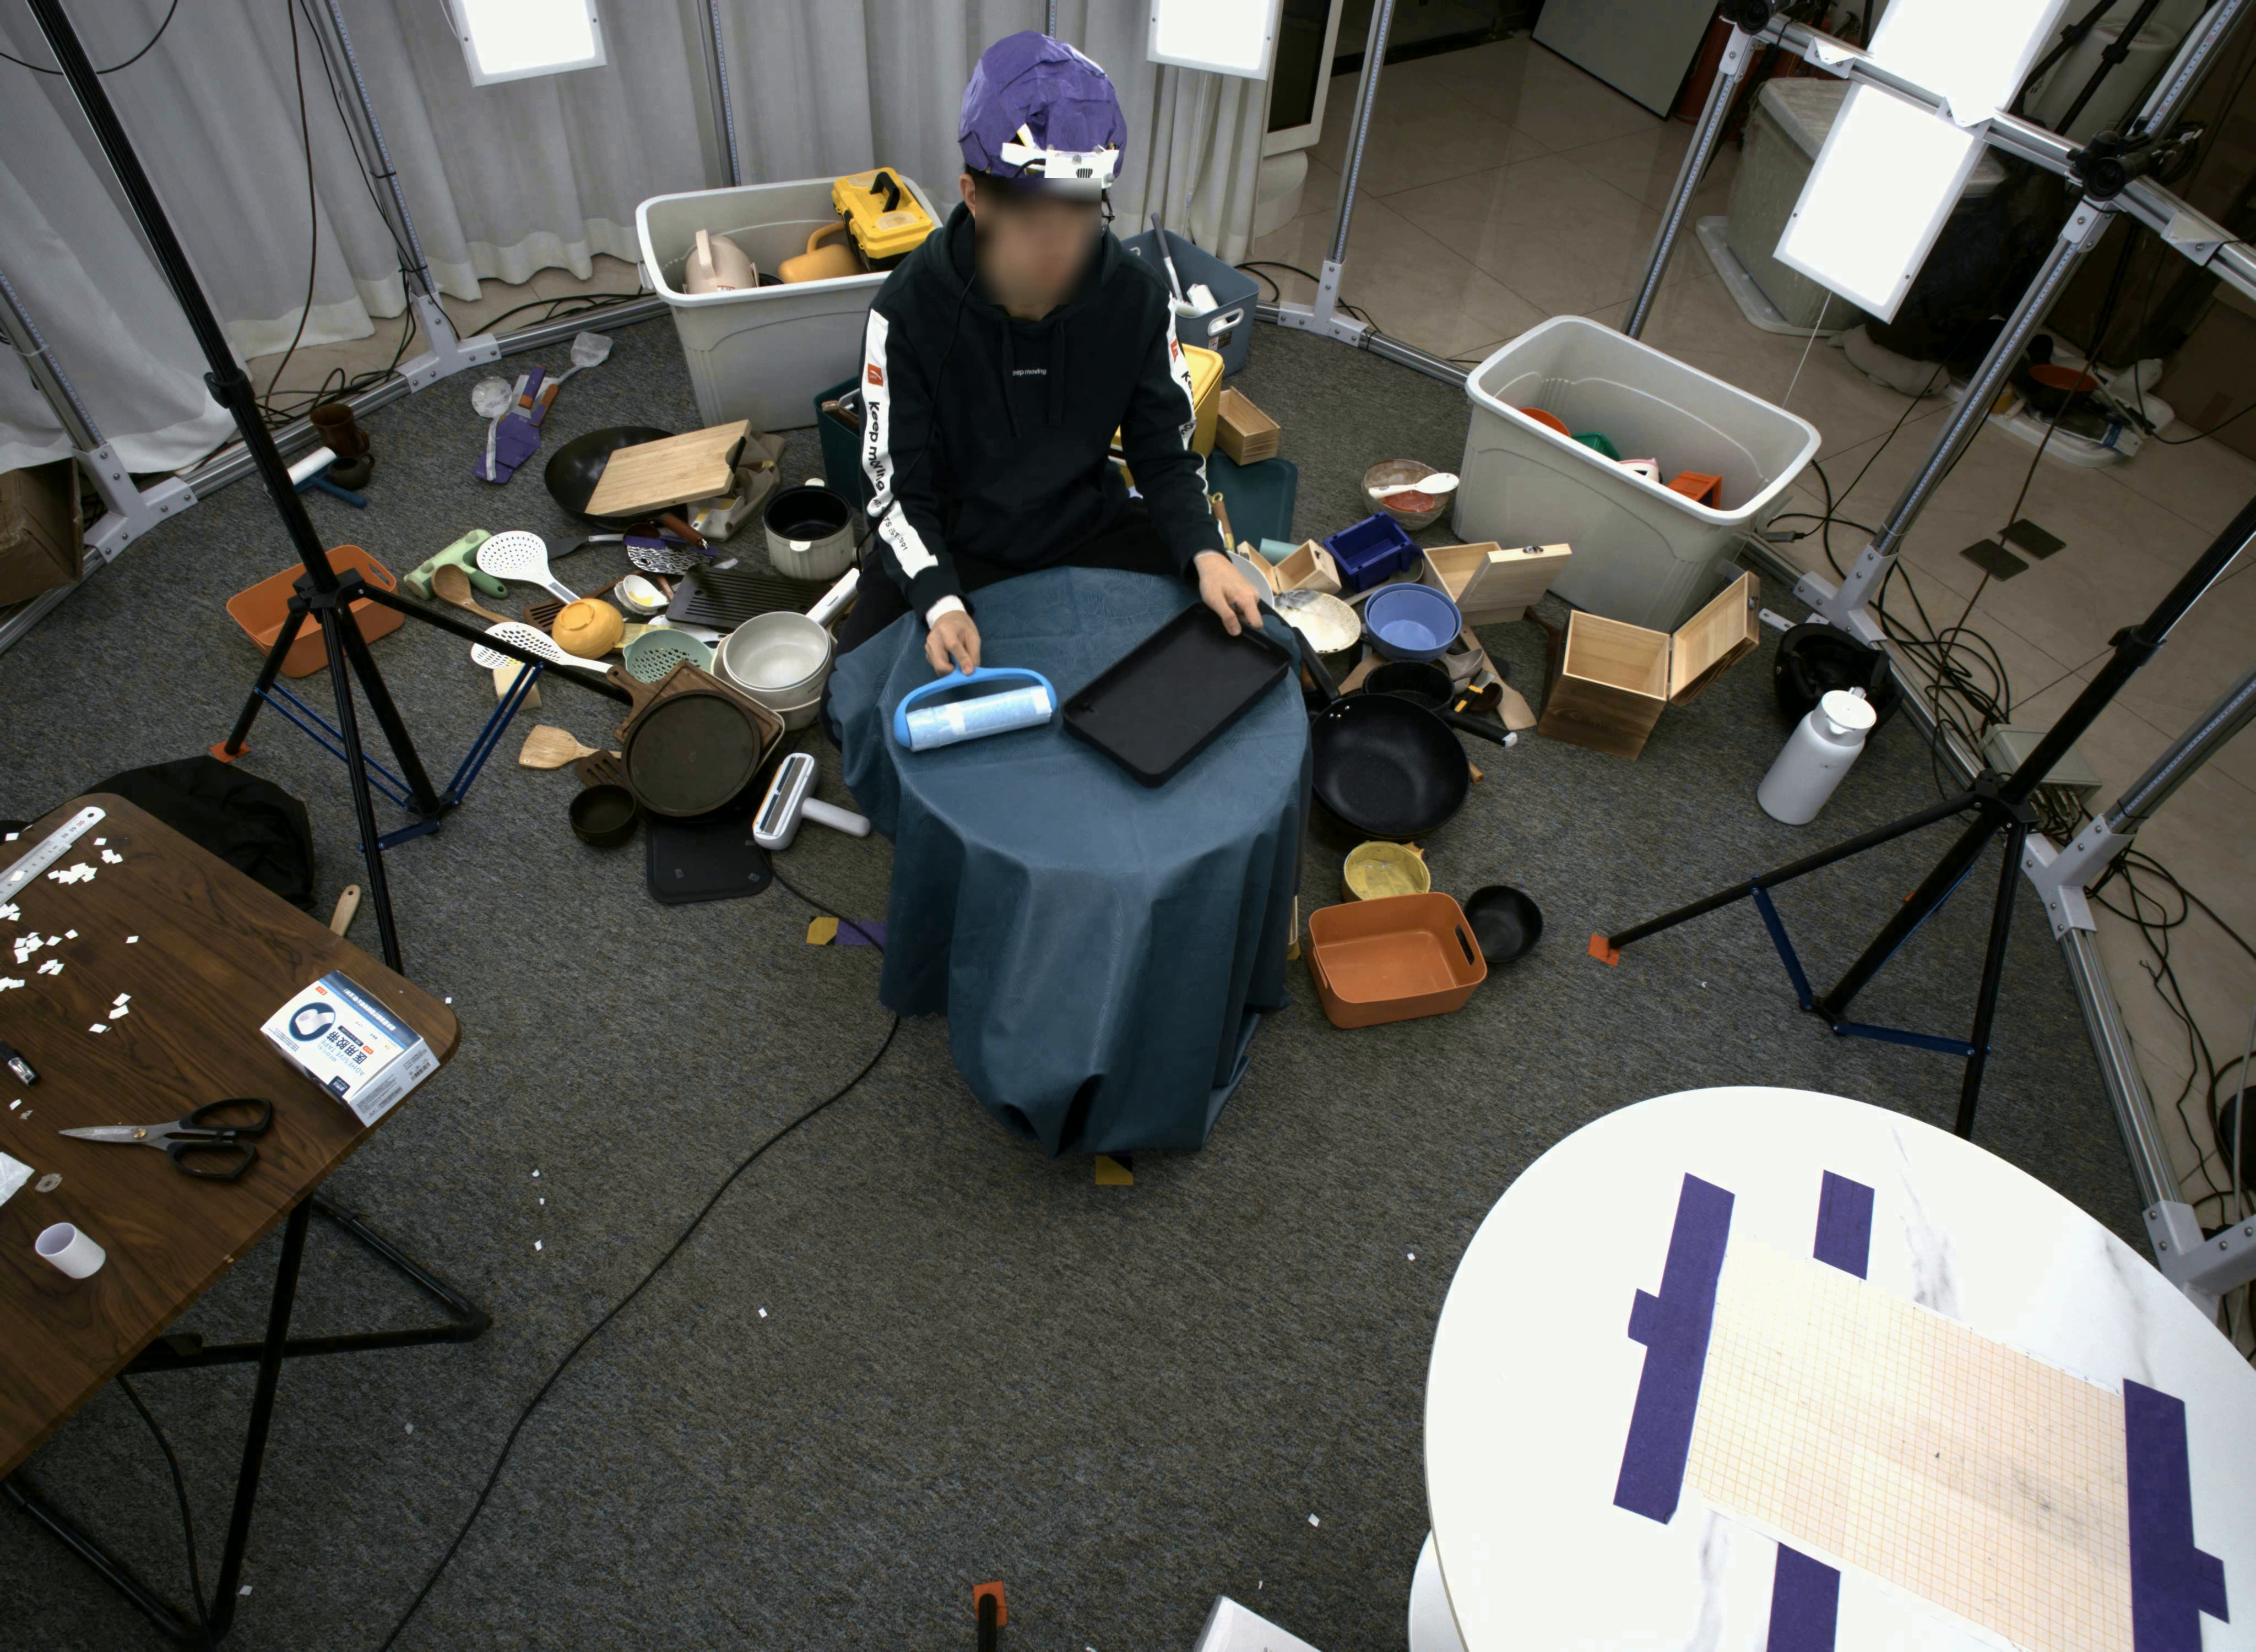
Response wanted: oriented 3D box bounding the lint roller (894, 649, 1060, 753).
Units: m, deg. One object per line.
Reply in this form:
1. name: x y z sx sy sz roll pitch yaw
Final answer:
1. lint roller: -0.224 -0.194 1.778 0.229 0.066 0.184 -17 57 -15

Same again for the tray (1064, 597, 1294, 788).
1. tray: 0.075 -0.195 1.812 0.186 0.036 0.321 33 59 24
